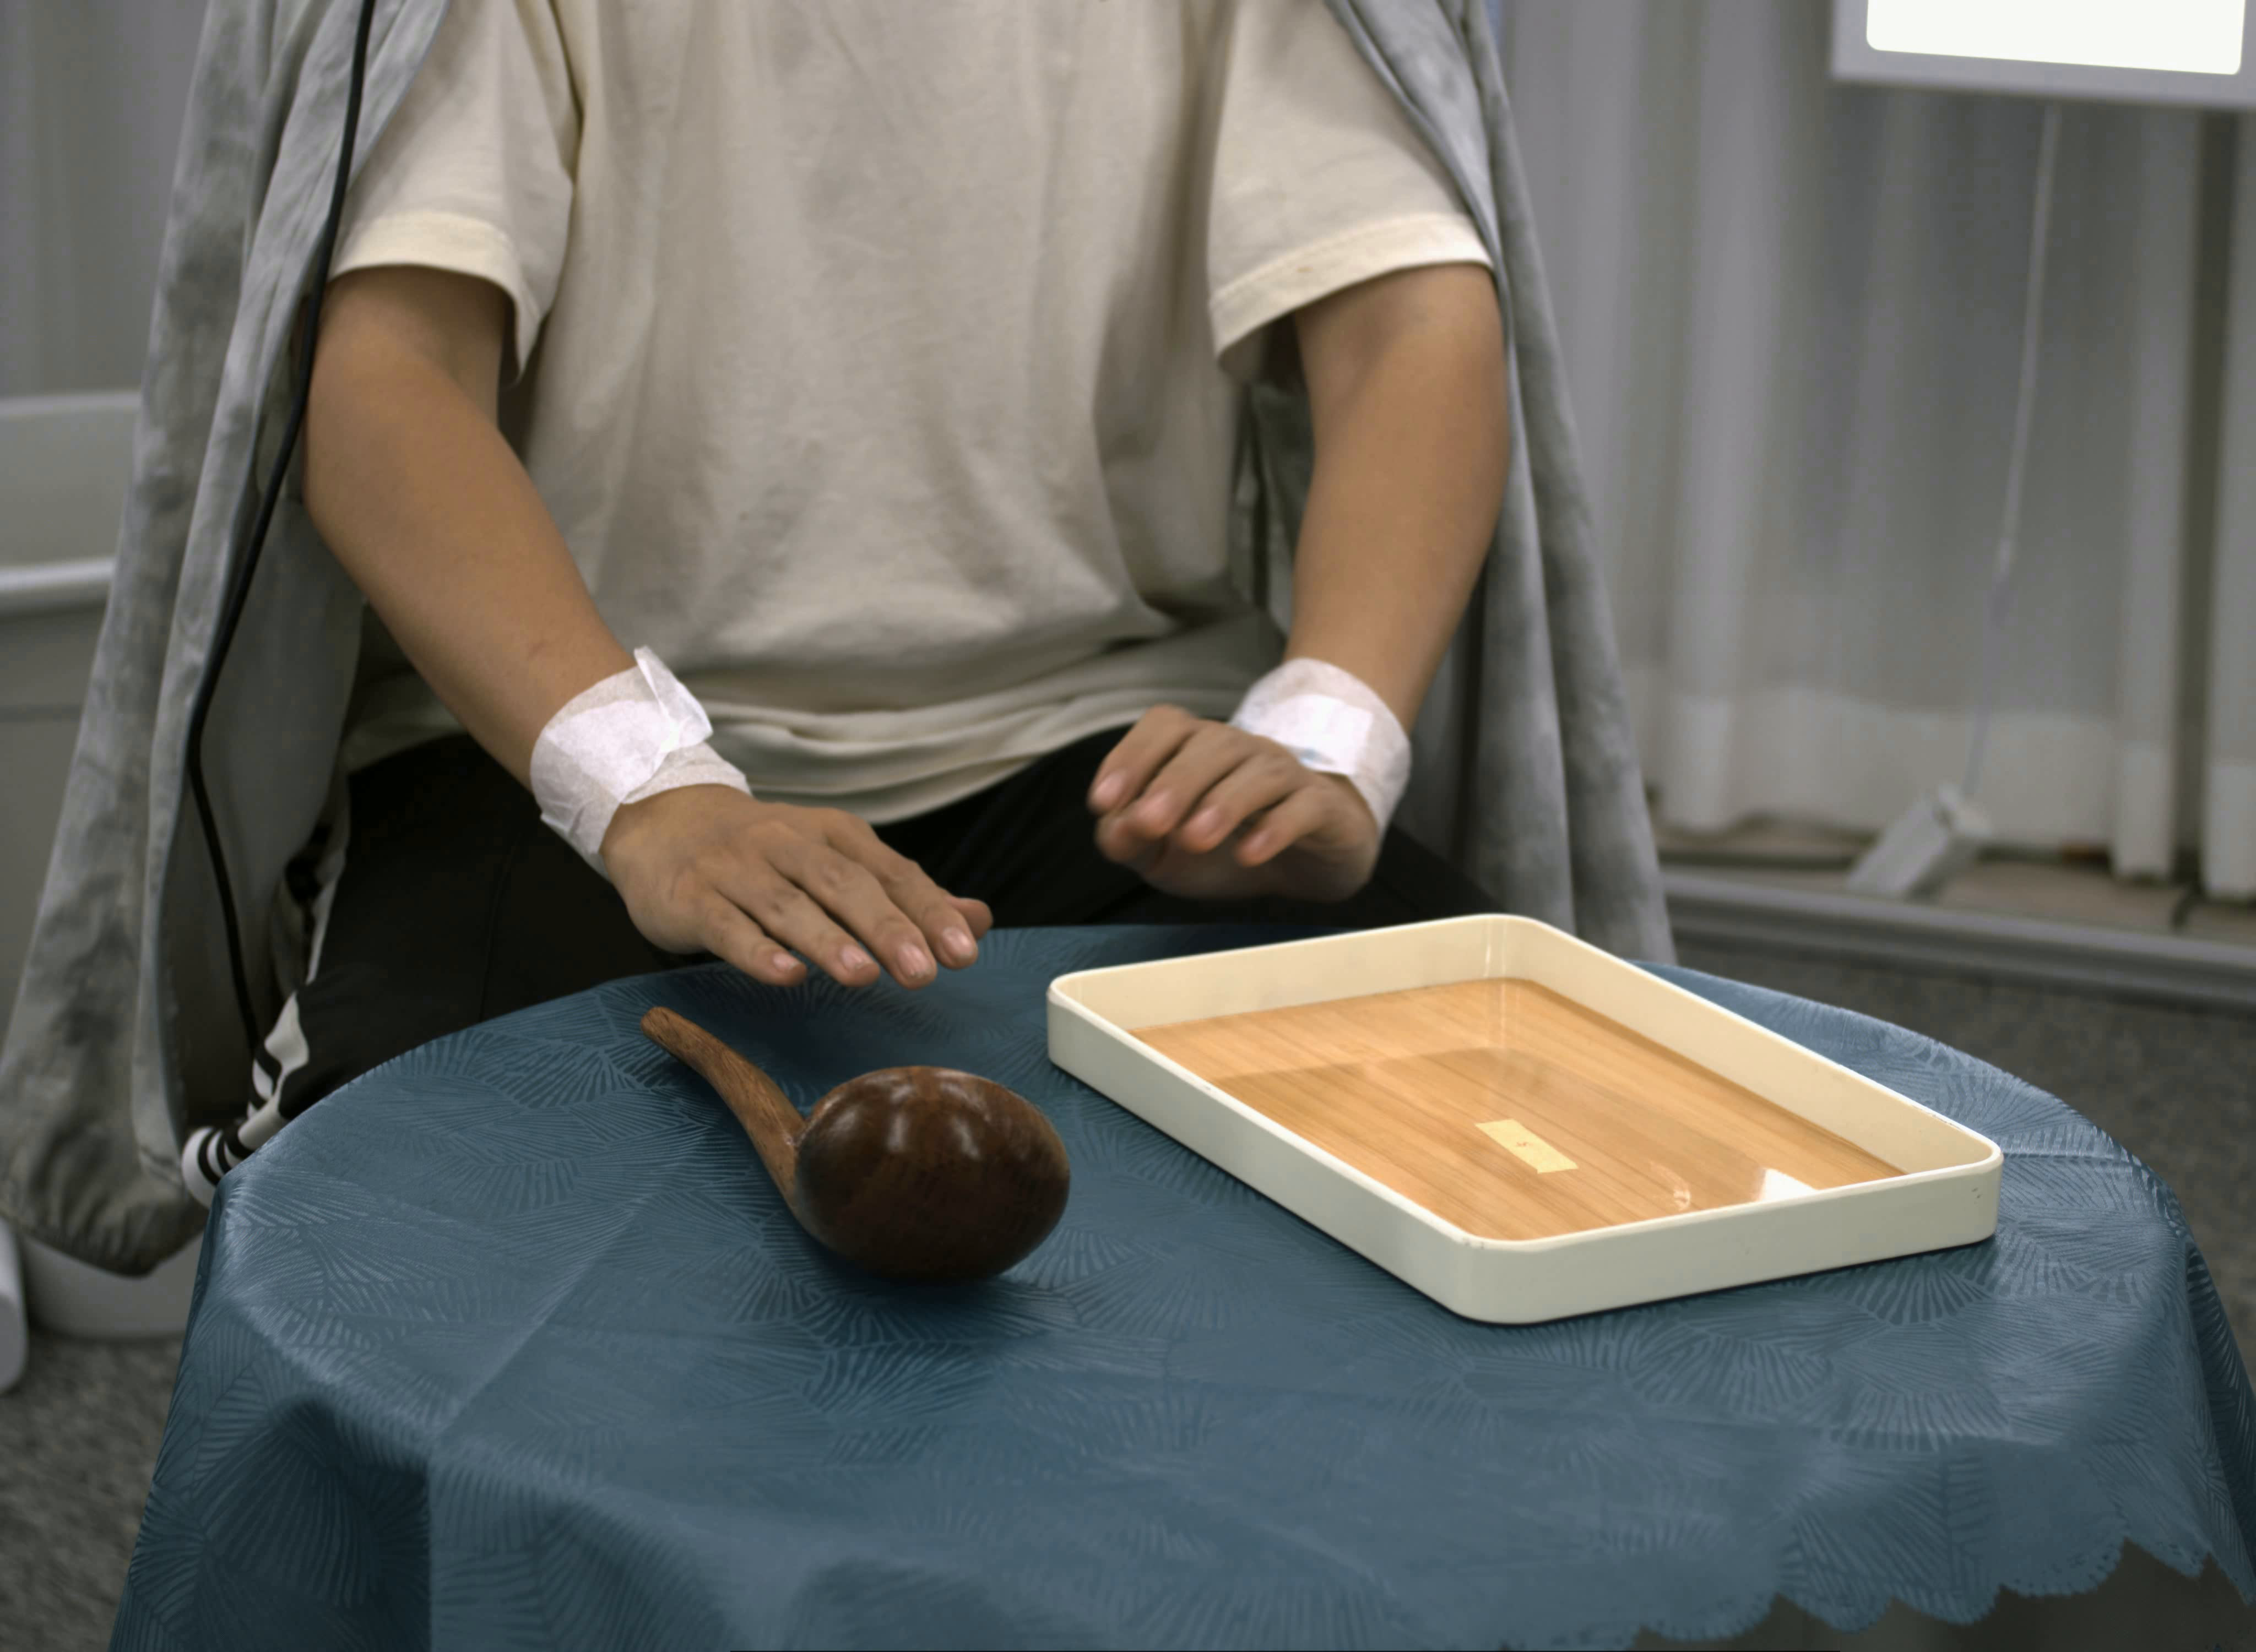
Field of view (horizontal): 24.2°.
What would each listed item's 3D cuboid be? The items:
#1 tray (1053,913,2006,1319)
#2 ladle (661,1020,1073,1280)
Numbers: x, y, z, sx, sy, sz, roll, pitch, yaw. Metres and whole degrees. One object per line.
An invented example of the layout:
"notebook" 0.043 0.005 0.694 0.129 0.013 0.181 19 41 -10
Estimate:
"tray" 0.120 0.087 1.671 0.192 0.027 0.296 -7 17 -26
"ladle" -0.090 0.076 1.621 0.082 0.076 0.271 39 0 -22
